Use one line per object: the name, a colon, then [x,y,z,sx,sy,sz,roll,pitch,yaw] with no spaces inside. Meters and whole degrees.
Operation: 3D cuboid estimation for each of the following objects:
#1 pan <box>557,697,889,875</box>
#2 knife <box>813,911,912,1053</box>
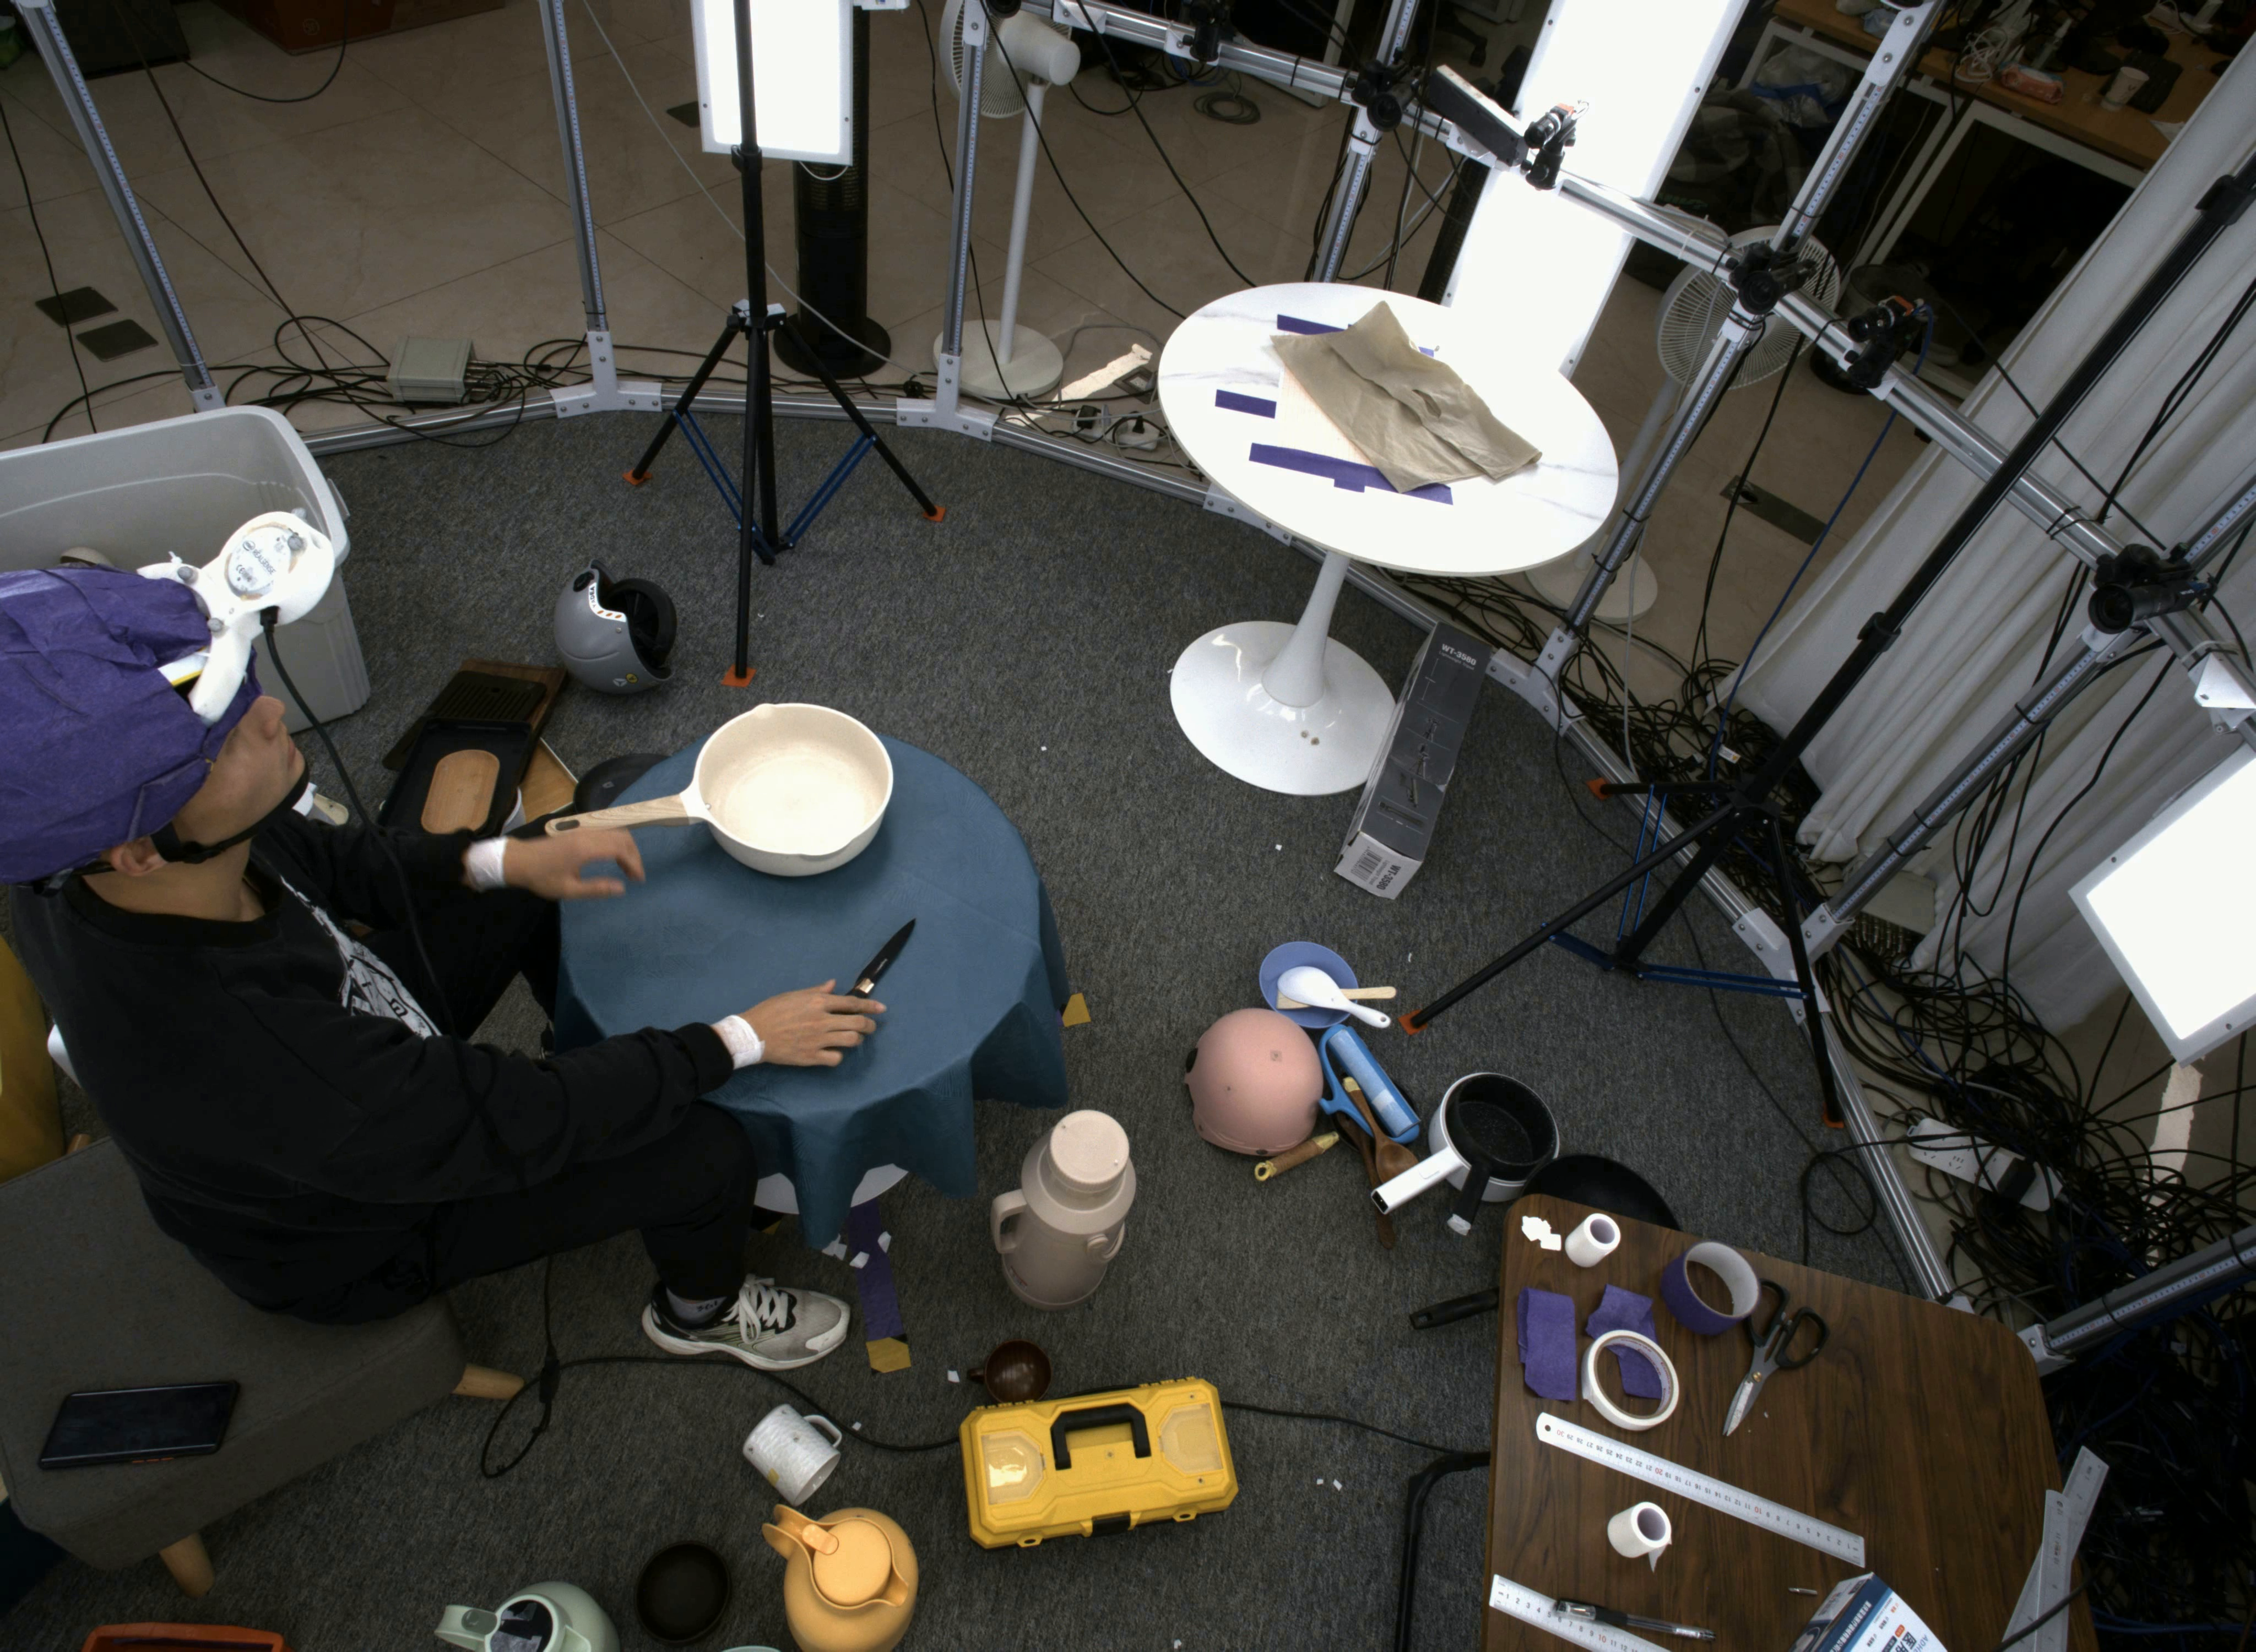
pan: [-0.517,-0.024,1.651,0.437,0.104,0.257,-19,62,-26]
knife: [-0.321,0.186,1.600,0.026,0.017,0.224,31,52,3]
